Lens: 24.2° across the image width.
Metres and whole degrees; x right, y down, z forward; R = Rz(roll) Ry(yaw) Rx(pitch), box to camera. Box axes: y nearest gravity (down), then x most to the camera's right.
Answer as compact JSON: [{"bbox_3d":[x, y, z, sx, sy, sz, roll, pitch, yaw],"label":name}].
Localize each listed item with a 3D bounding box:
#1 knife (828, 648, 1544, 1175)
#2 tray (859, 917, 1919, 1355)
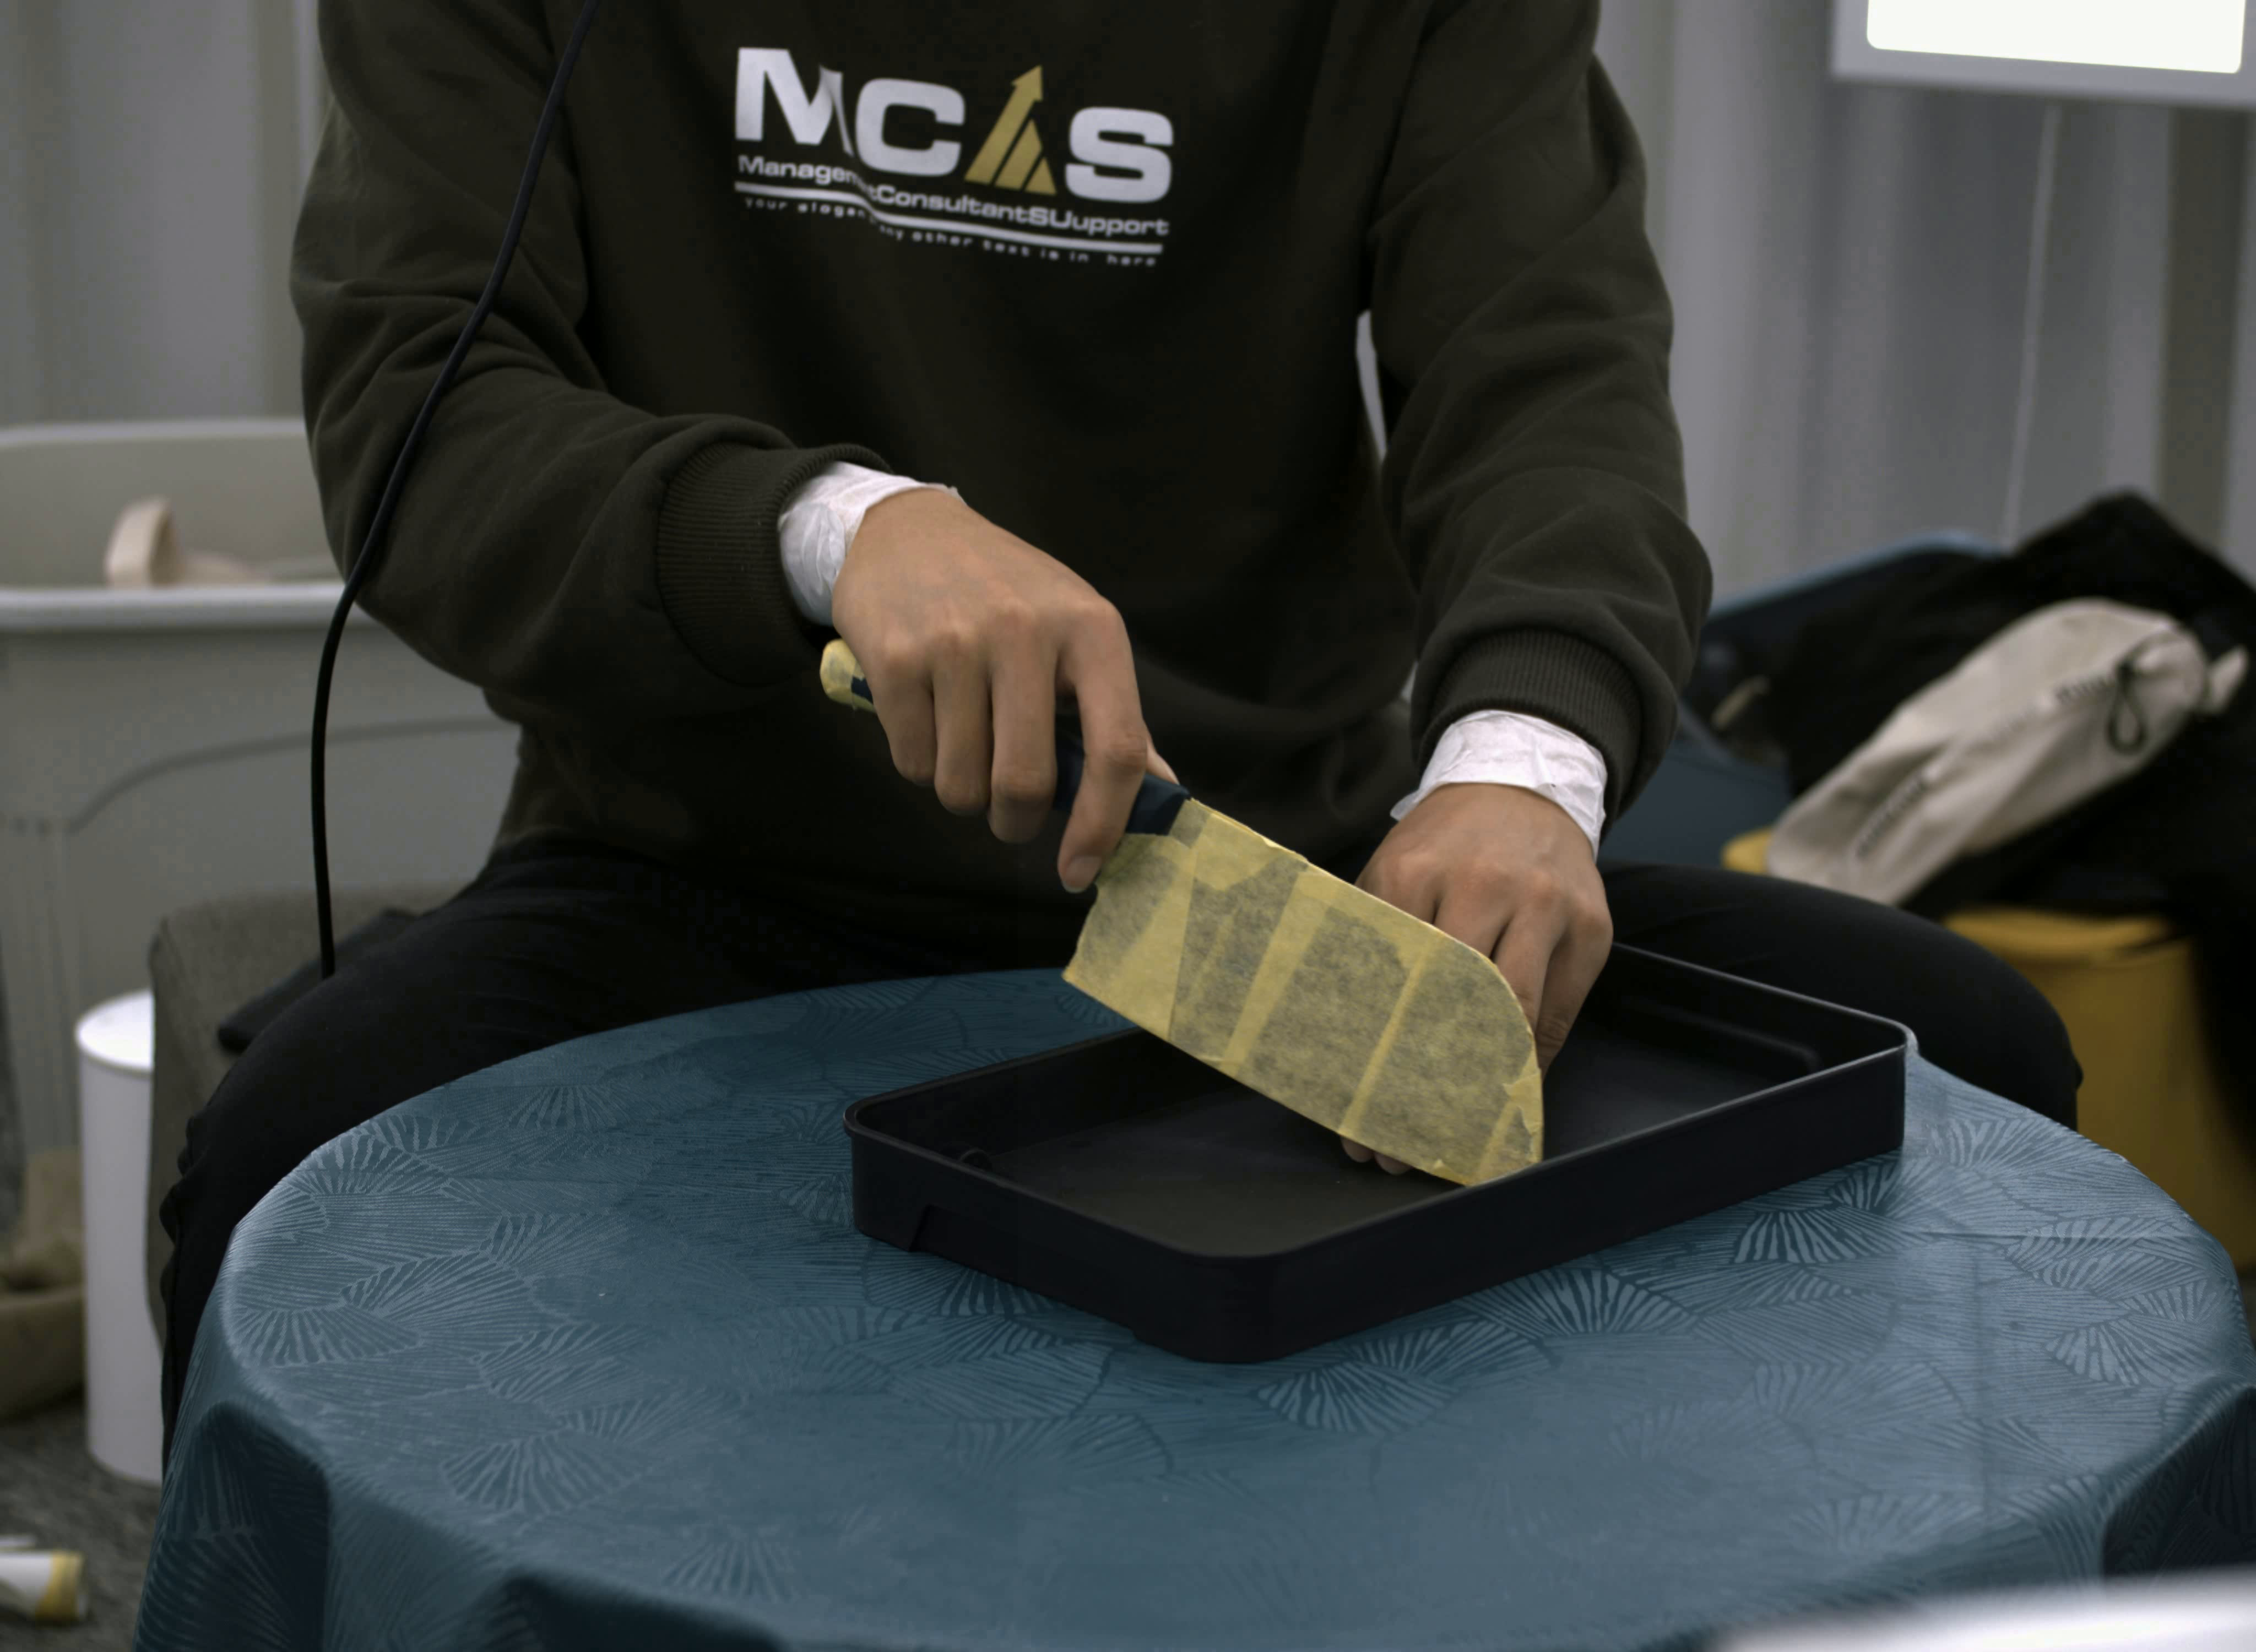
[{"bbox_3d":[0.013,0.025,1.658,0.286,0.081,0.027,32,10,22],"label":"knife"},{"bbox_3d":[0.085,0.090,1.637,0.182,0.037,0.319,16,21,43],"label":"tray"}]
